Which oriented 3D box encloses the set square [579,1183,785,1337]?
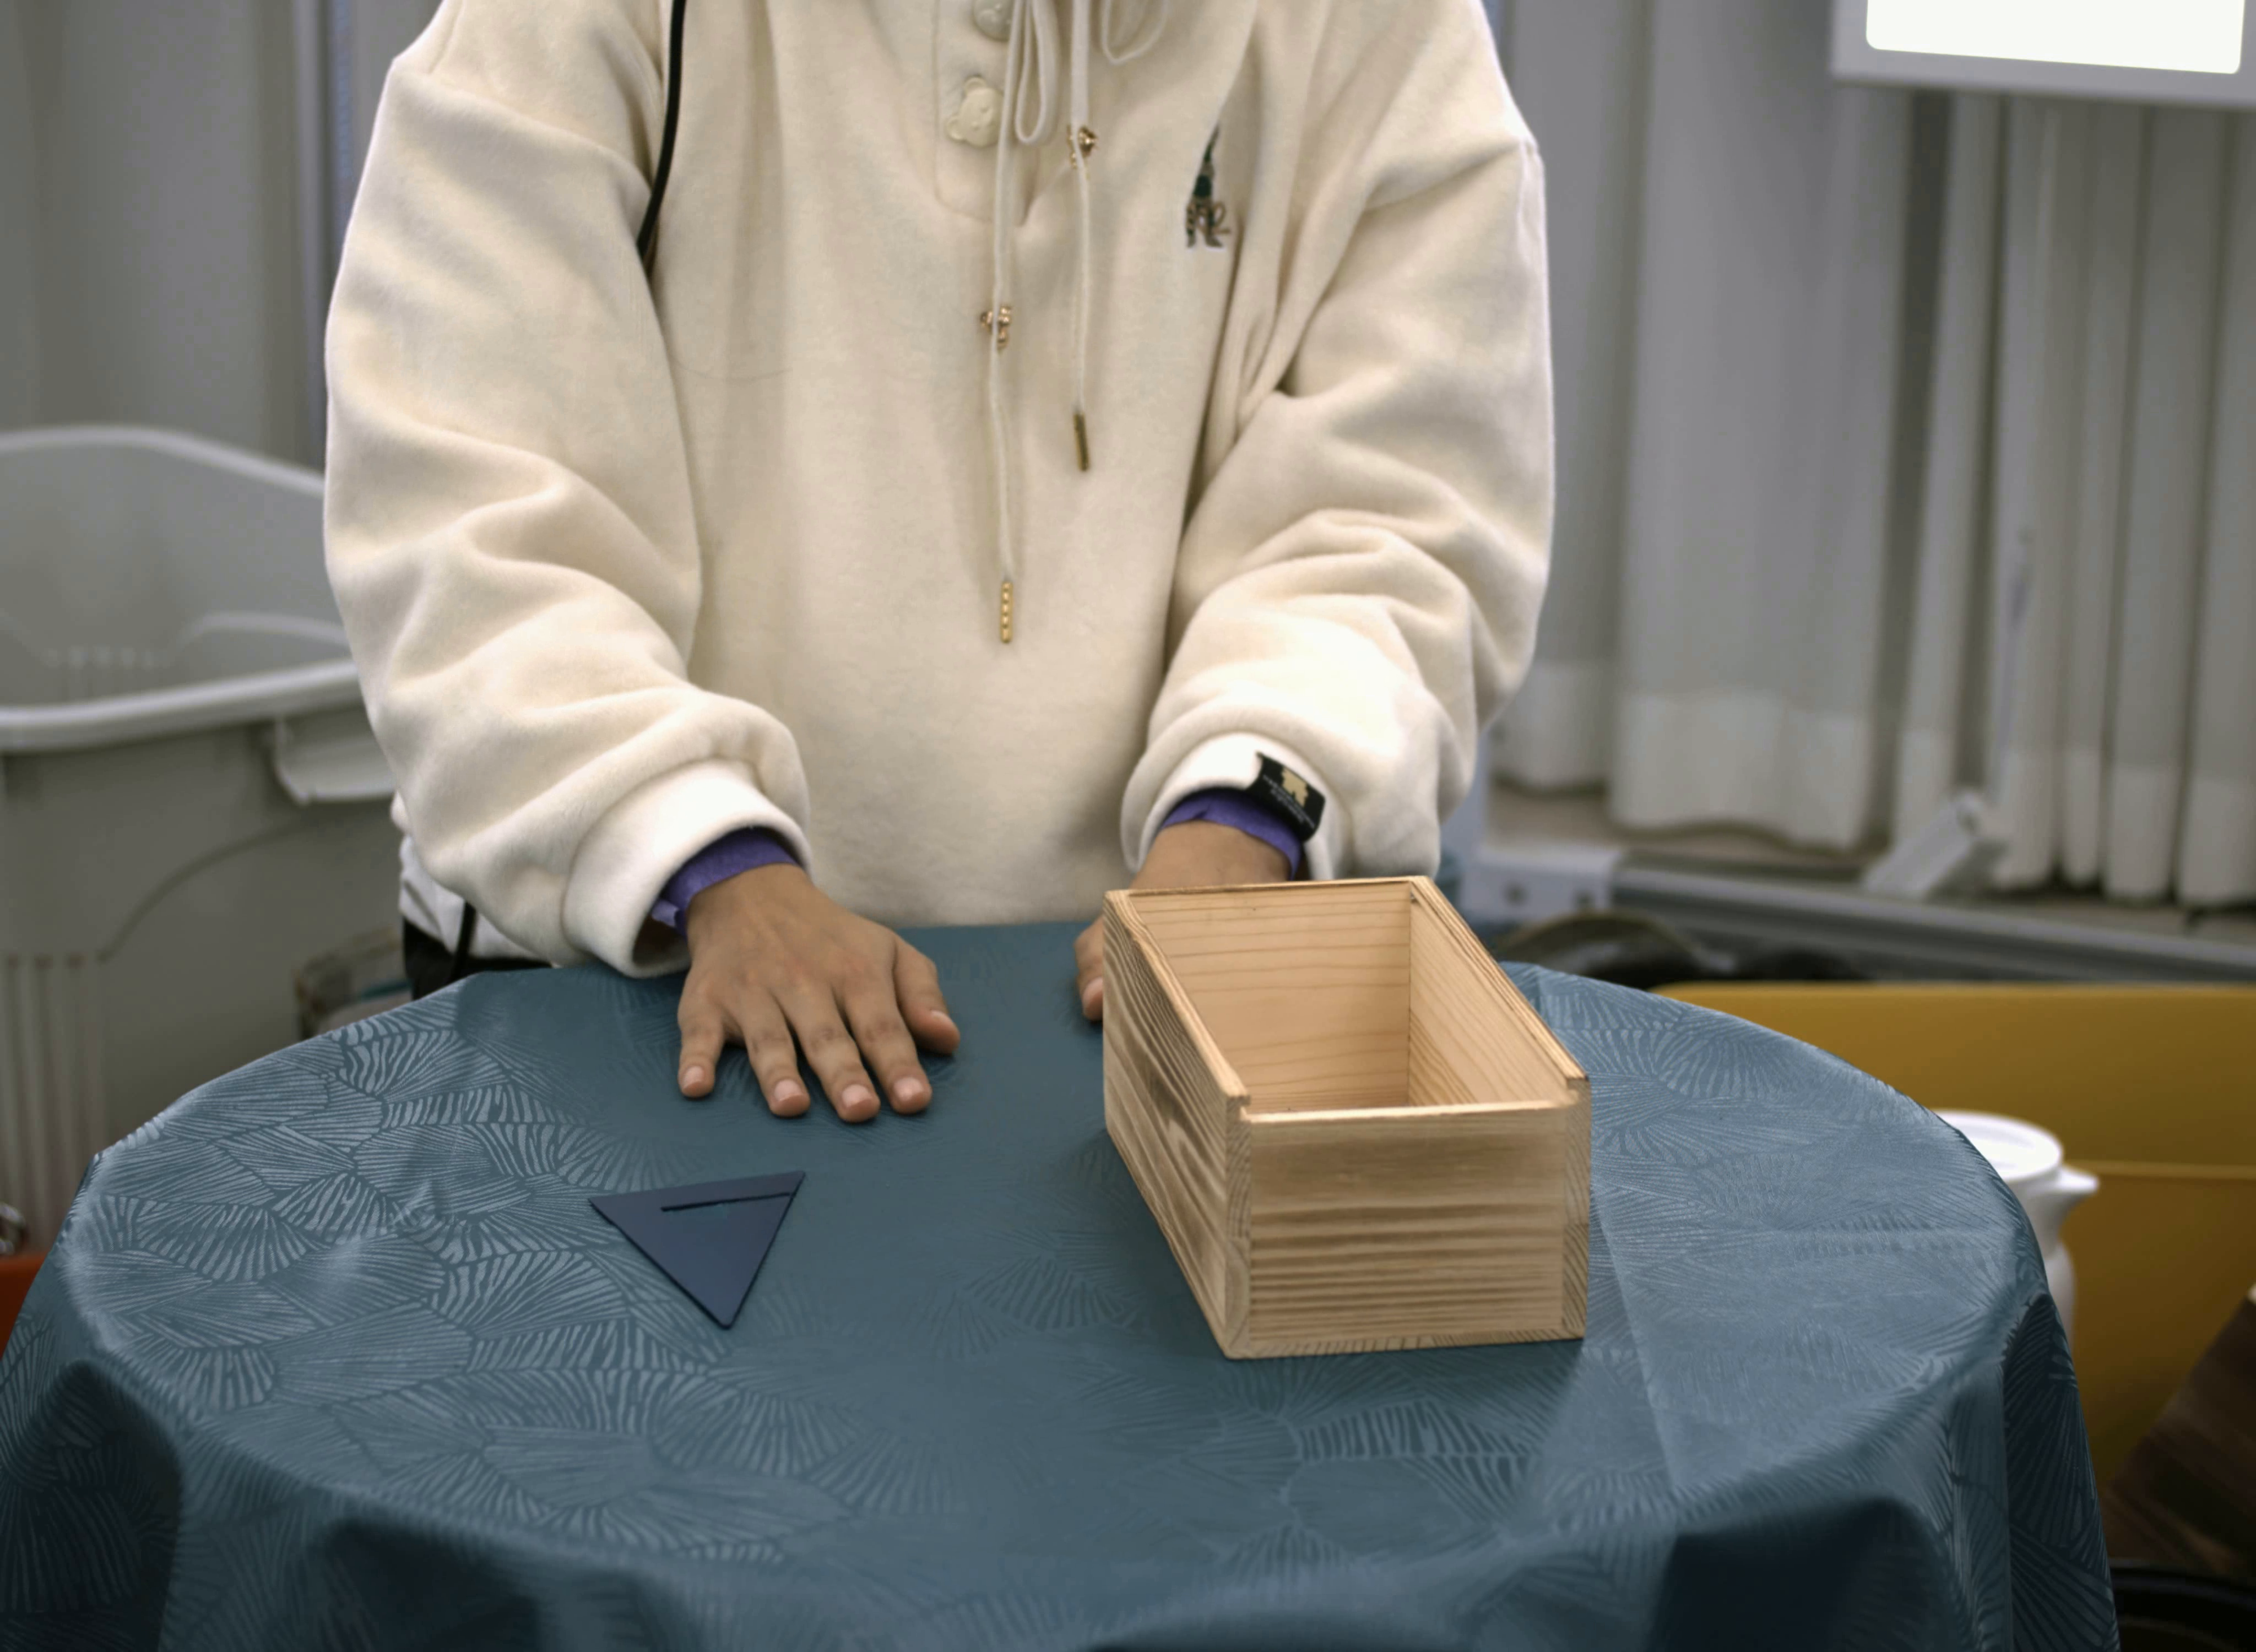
[{"bbox_3d":[-0.144,0.125,1.562,0.061,0.006,0.132,4,16,10],"label":"set square"}]

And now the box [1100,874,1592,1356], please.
[{"bbox_3d":[0.061,0.082,1.581,0.107,0.081,0.209,-2,16,-10],"label":"box"}]
